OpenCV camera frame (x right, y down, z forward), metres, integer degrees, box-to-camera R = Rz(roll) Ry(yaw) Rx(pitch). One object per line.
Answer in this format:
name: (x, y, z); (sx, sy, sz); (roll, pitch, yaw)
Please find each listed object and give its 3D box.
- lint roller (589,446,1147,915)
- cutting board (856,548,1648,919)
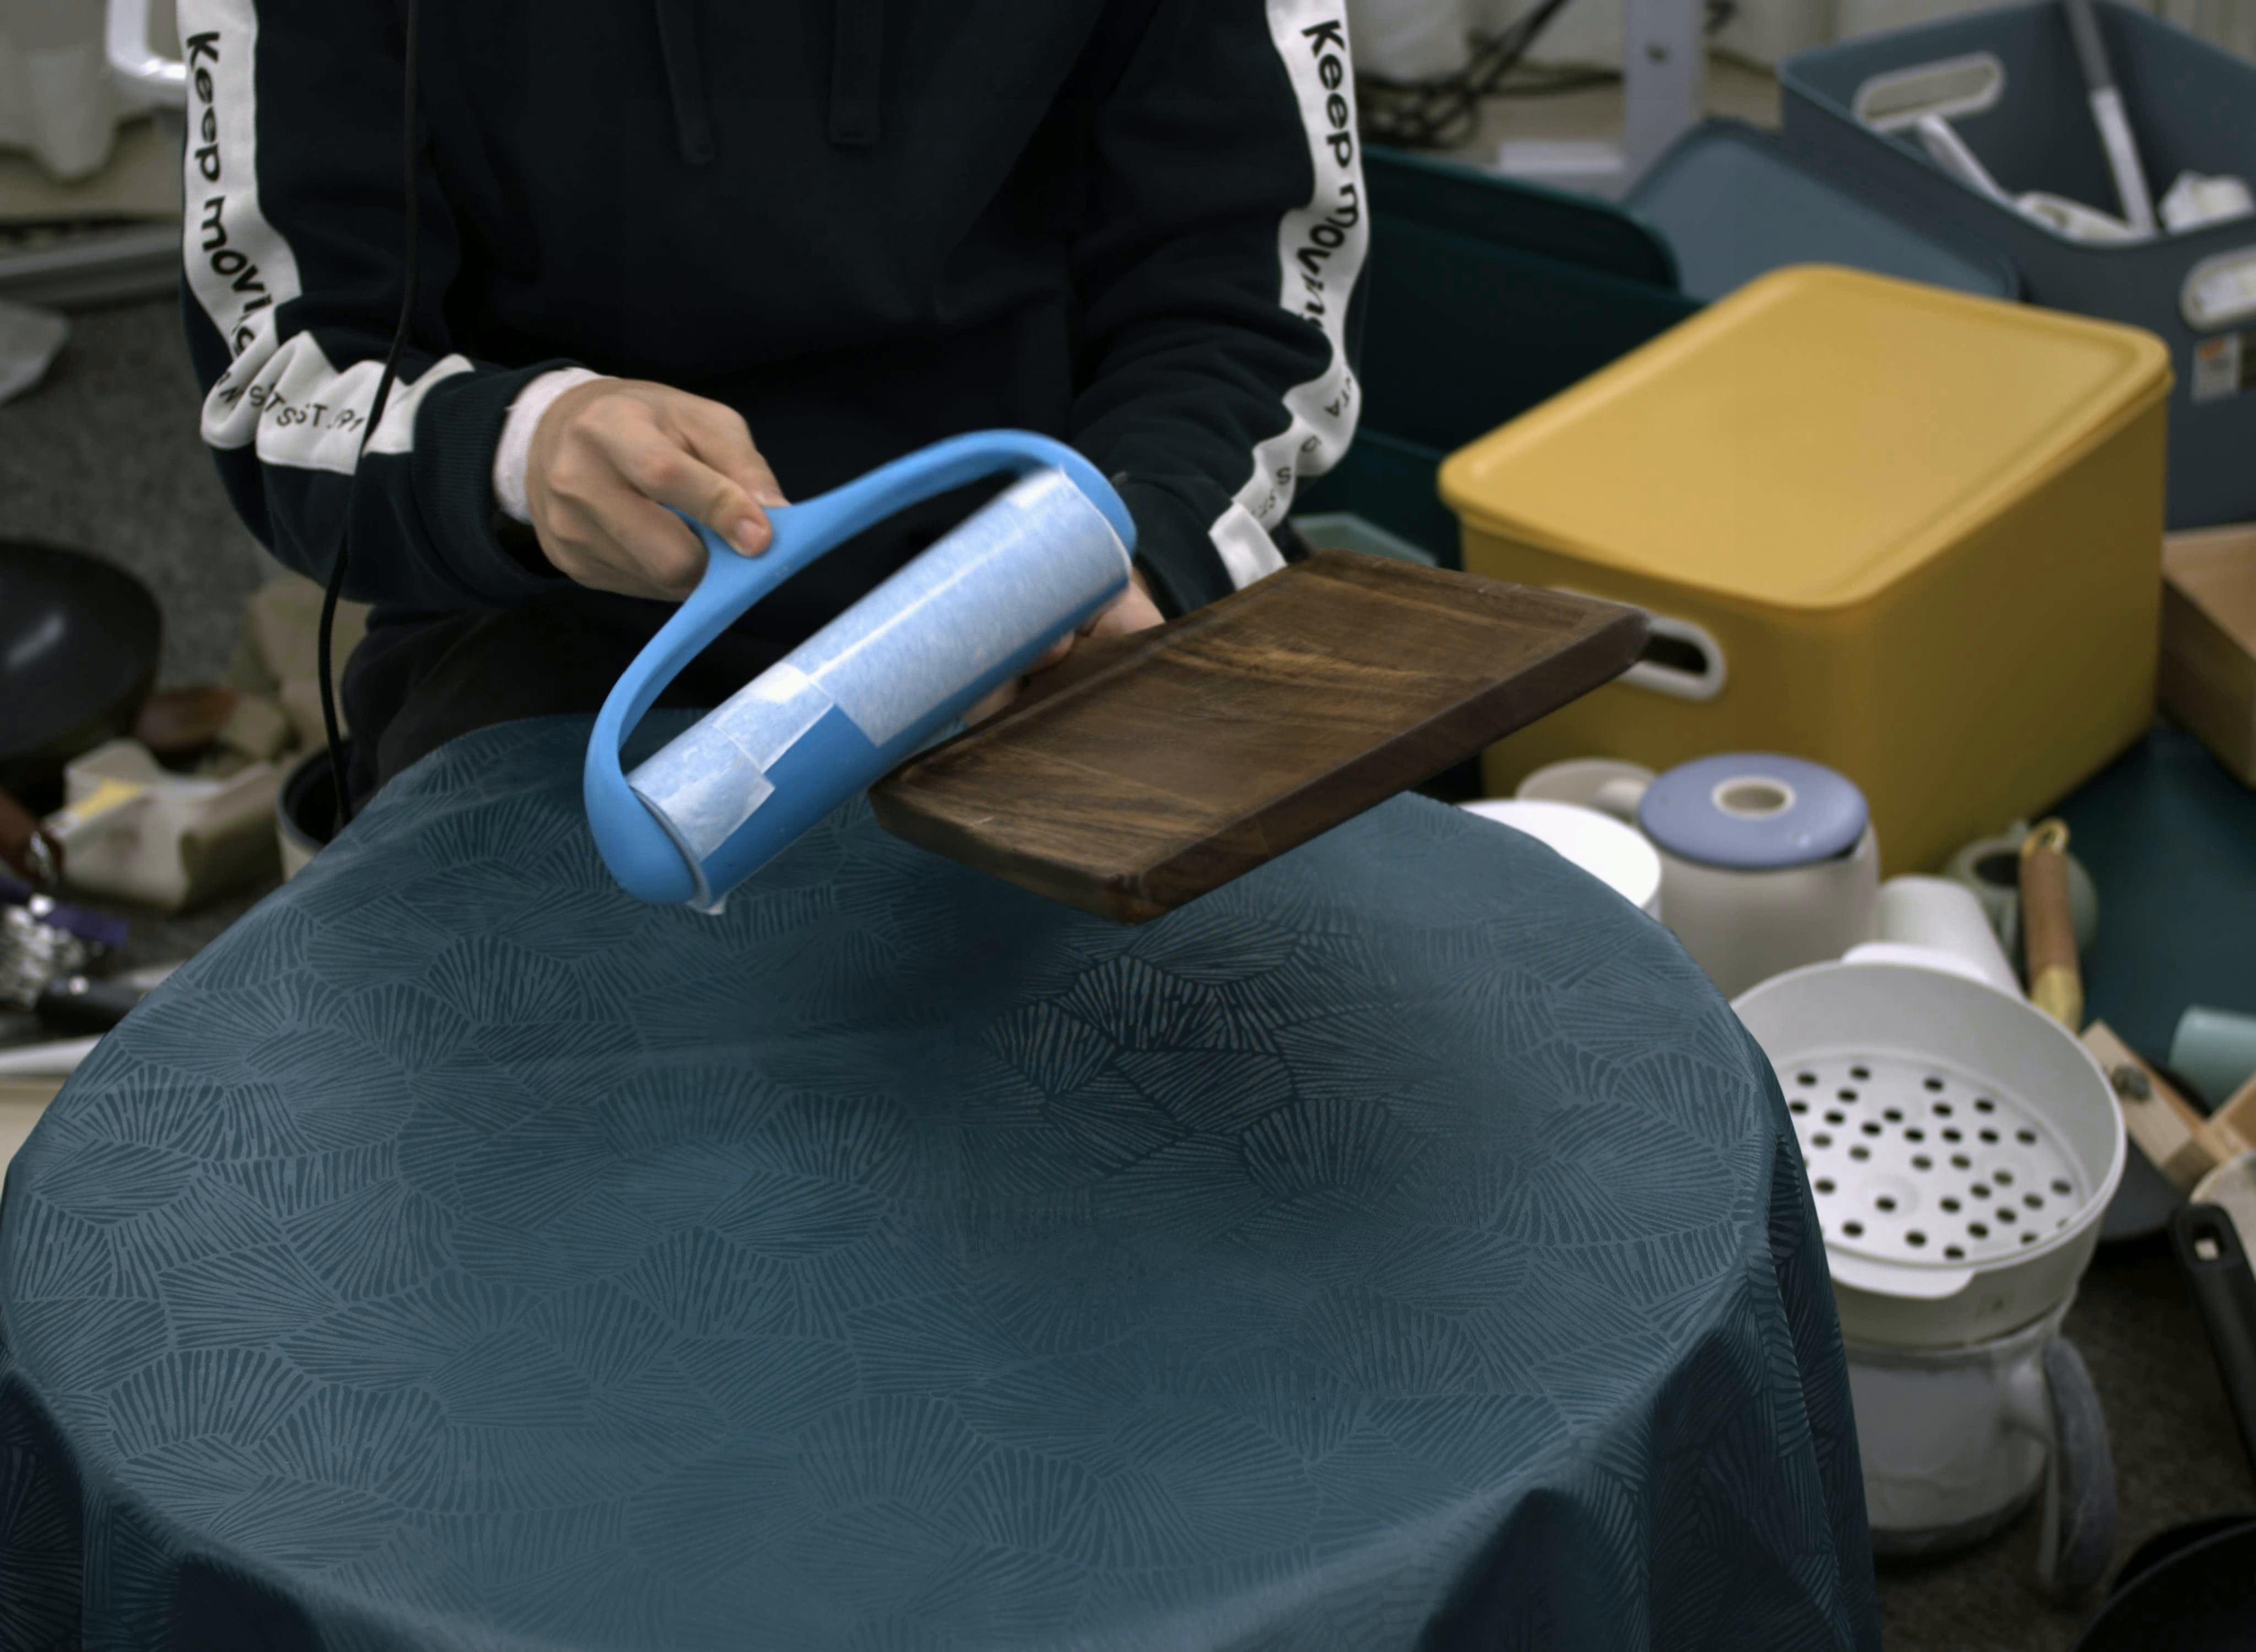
lint roller: (-0.125, -0.076, 1.970); (0.231, 0.067, 0.181); (-39, 55, -22)
cutting board: (0.017, -0.041, 1.914); (0.202, 0.023, 0.351); (-27, 16, -17)
